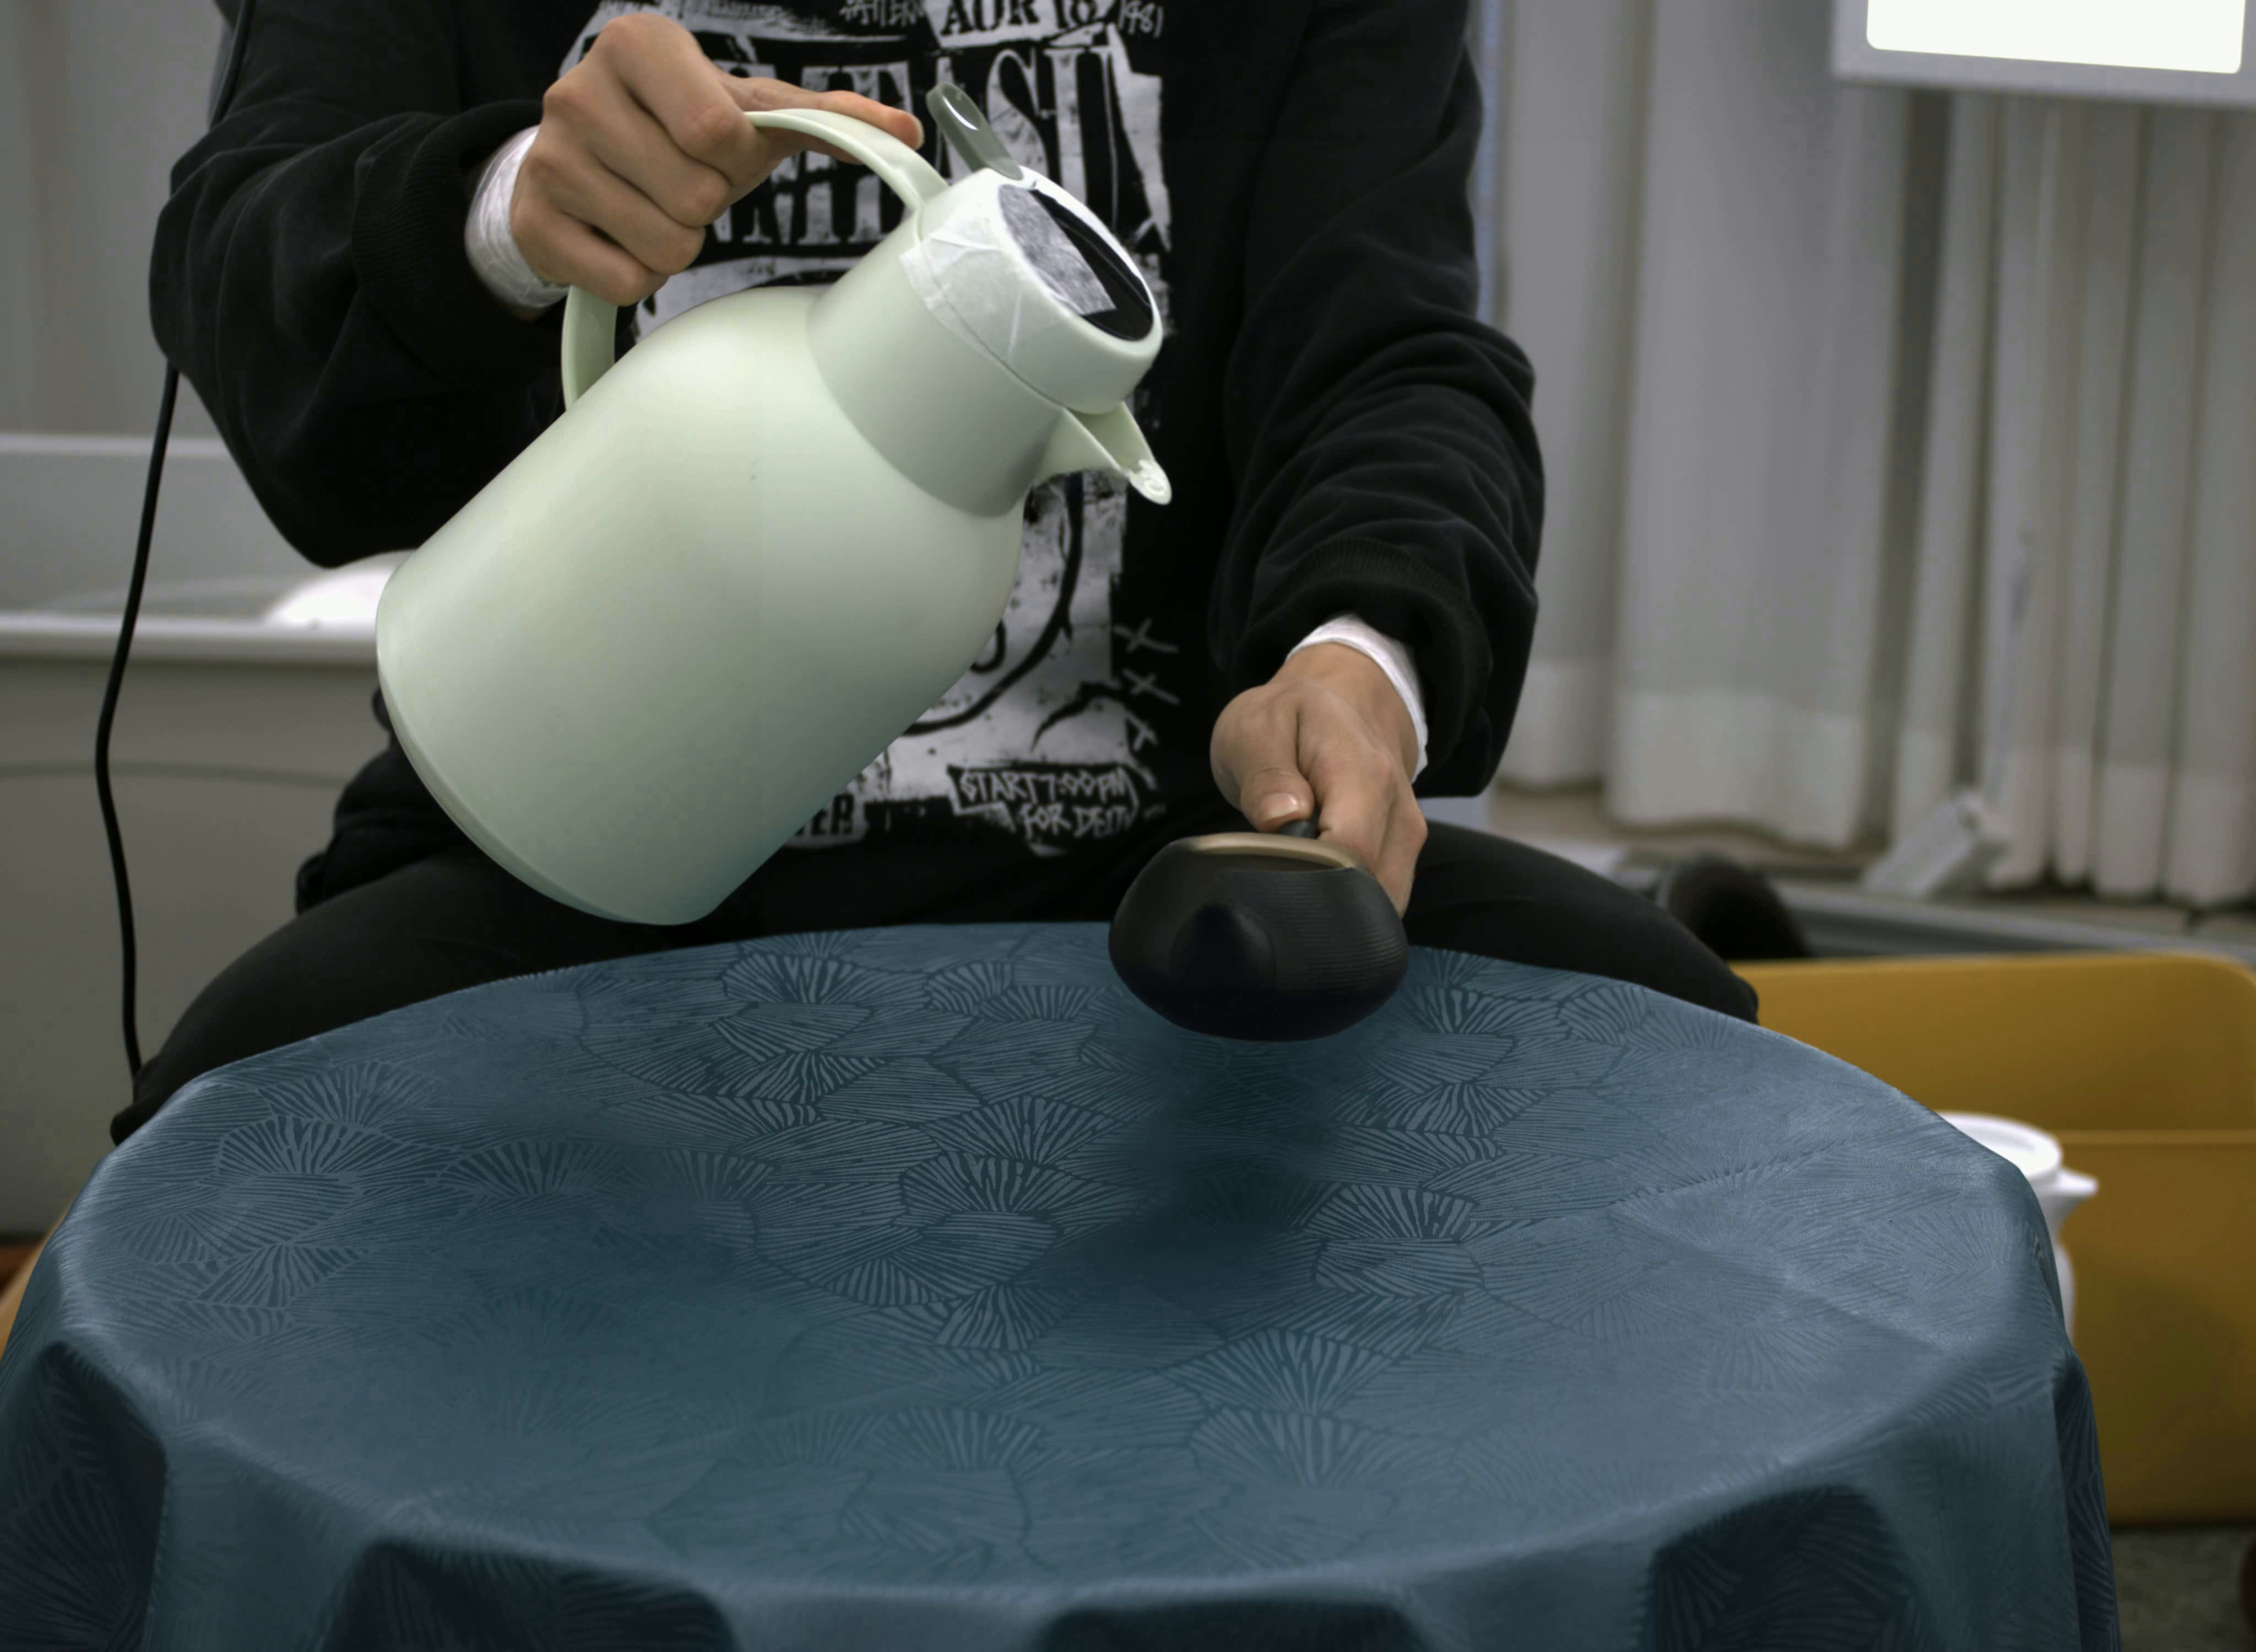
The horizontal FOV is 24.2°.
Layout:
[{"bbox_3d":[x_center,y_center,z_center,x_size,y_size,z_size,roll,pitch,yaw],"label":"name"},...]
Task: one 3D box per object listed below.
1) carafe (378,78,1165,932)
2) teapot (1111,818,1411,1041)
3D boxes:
[{"bbox_3d":[-0.111,-0.104,1.594,0.186,0.257,0.144,49,26,9],"label":"carafe"},{"bbox_3d":[0.040,0.033,1.583,0.090,0.053,0.133,8,13,13],"label":"teapot"}]
